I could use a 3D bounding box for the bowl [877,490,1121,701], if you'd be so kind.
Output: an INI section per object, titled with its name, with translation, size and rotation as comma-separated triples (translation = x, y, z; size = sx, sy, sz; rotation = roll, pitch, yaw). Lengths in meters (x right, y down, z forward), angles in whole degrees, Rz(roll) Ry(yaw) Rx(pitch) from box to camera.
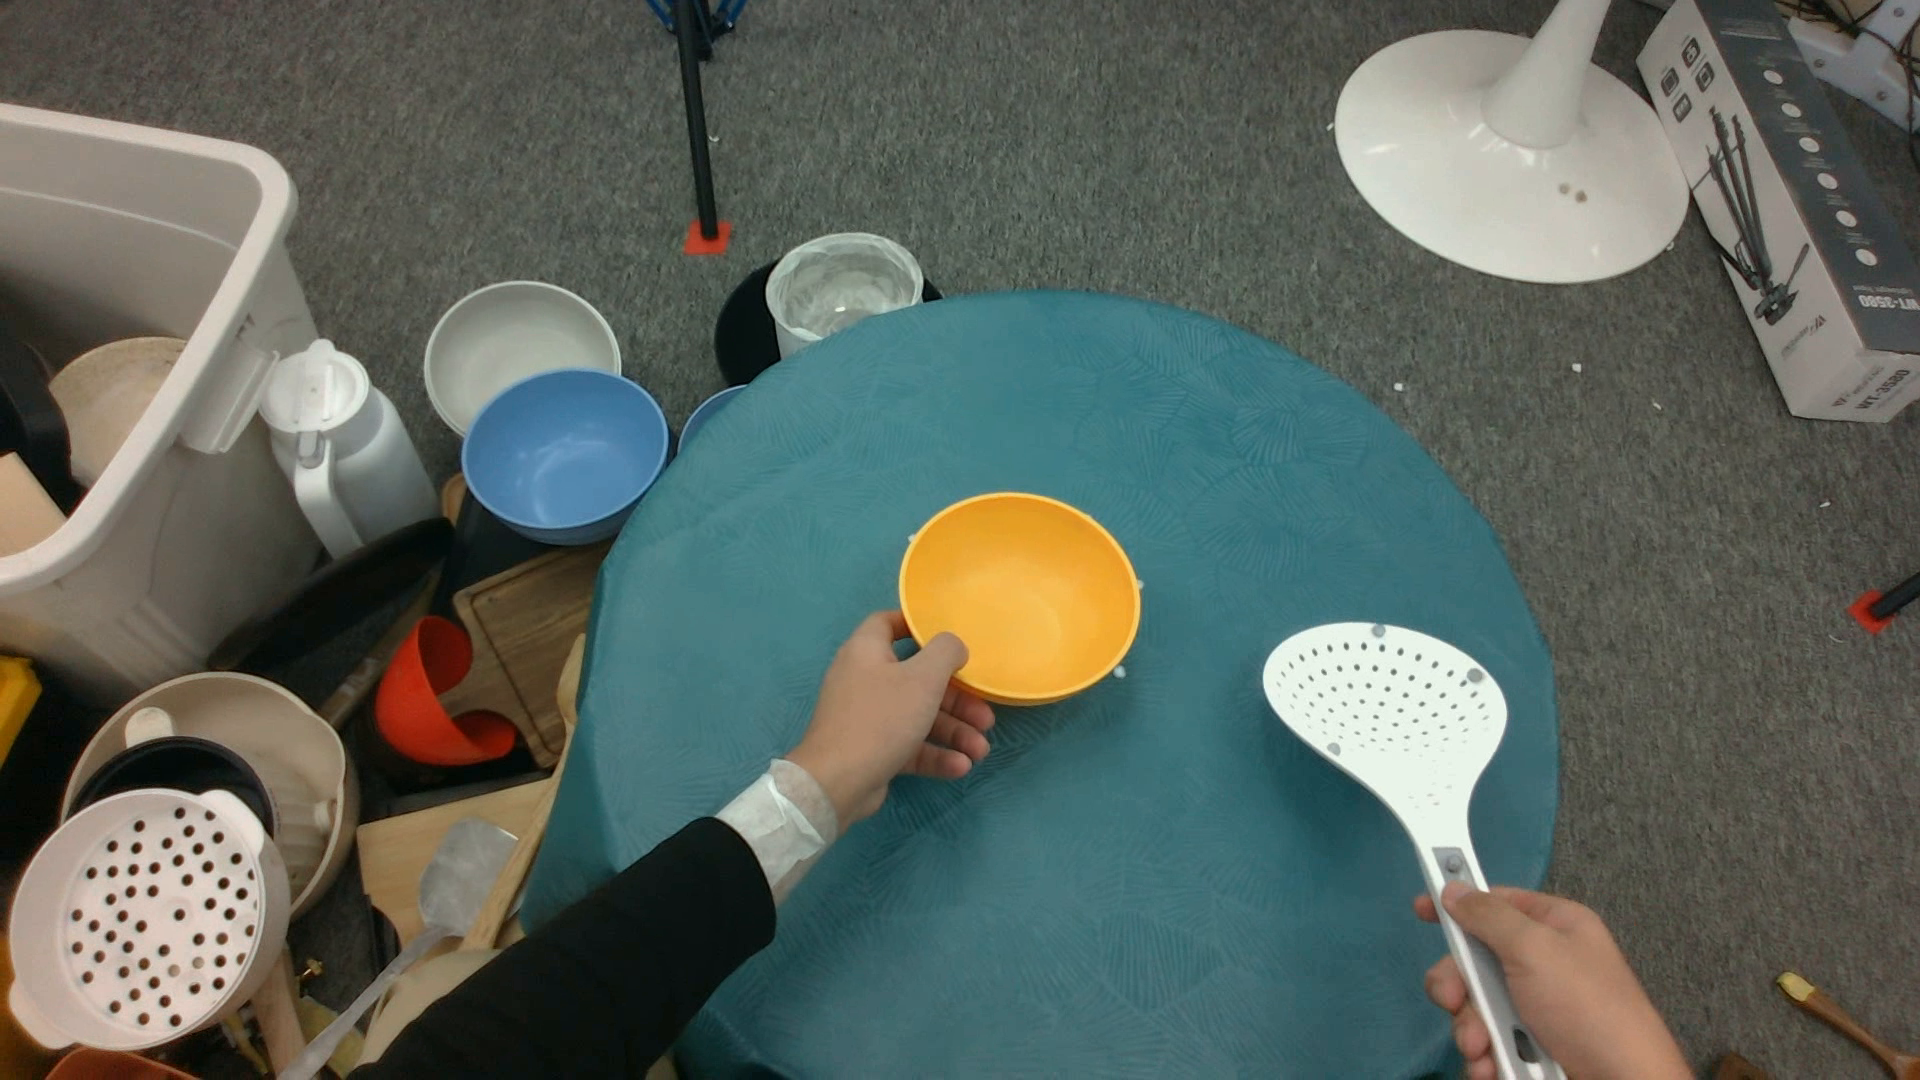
[bowl]
translation = 0.021, 0.043, 0.834
size = 0.145, 0.060, 0.146
rotation = 3, 54, -4

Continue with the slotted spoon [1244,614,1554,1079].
[slotted spoon]
translation = 0.238, 0.148, 0.724
size = 0.136, 0.045, 0.351
rotation = 0, 28, -1
